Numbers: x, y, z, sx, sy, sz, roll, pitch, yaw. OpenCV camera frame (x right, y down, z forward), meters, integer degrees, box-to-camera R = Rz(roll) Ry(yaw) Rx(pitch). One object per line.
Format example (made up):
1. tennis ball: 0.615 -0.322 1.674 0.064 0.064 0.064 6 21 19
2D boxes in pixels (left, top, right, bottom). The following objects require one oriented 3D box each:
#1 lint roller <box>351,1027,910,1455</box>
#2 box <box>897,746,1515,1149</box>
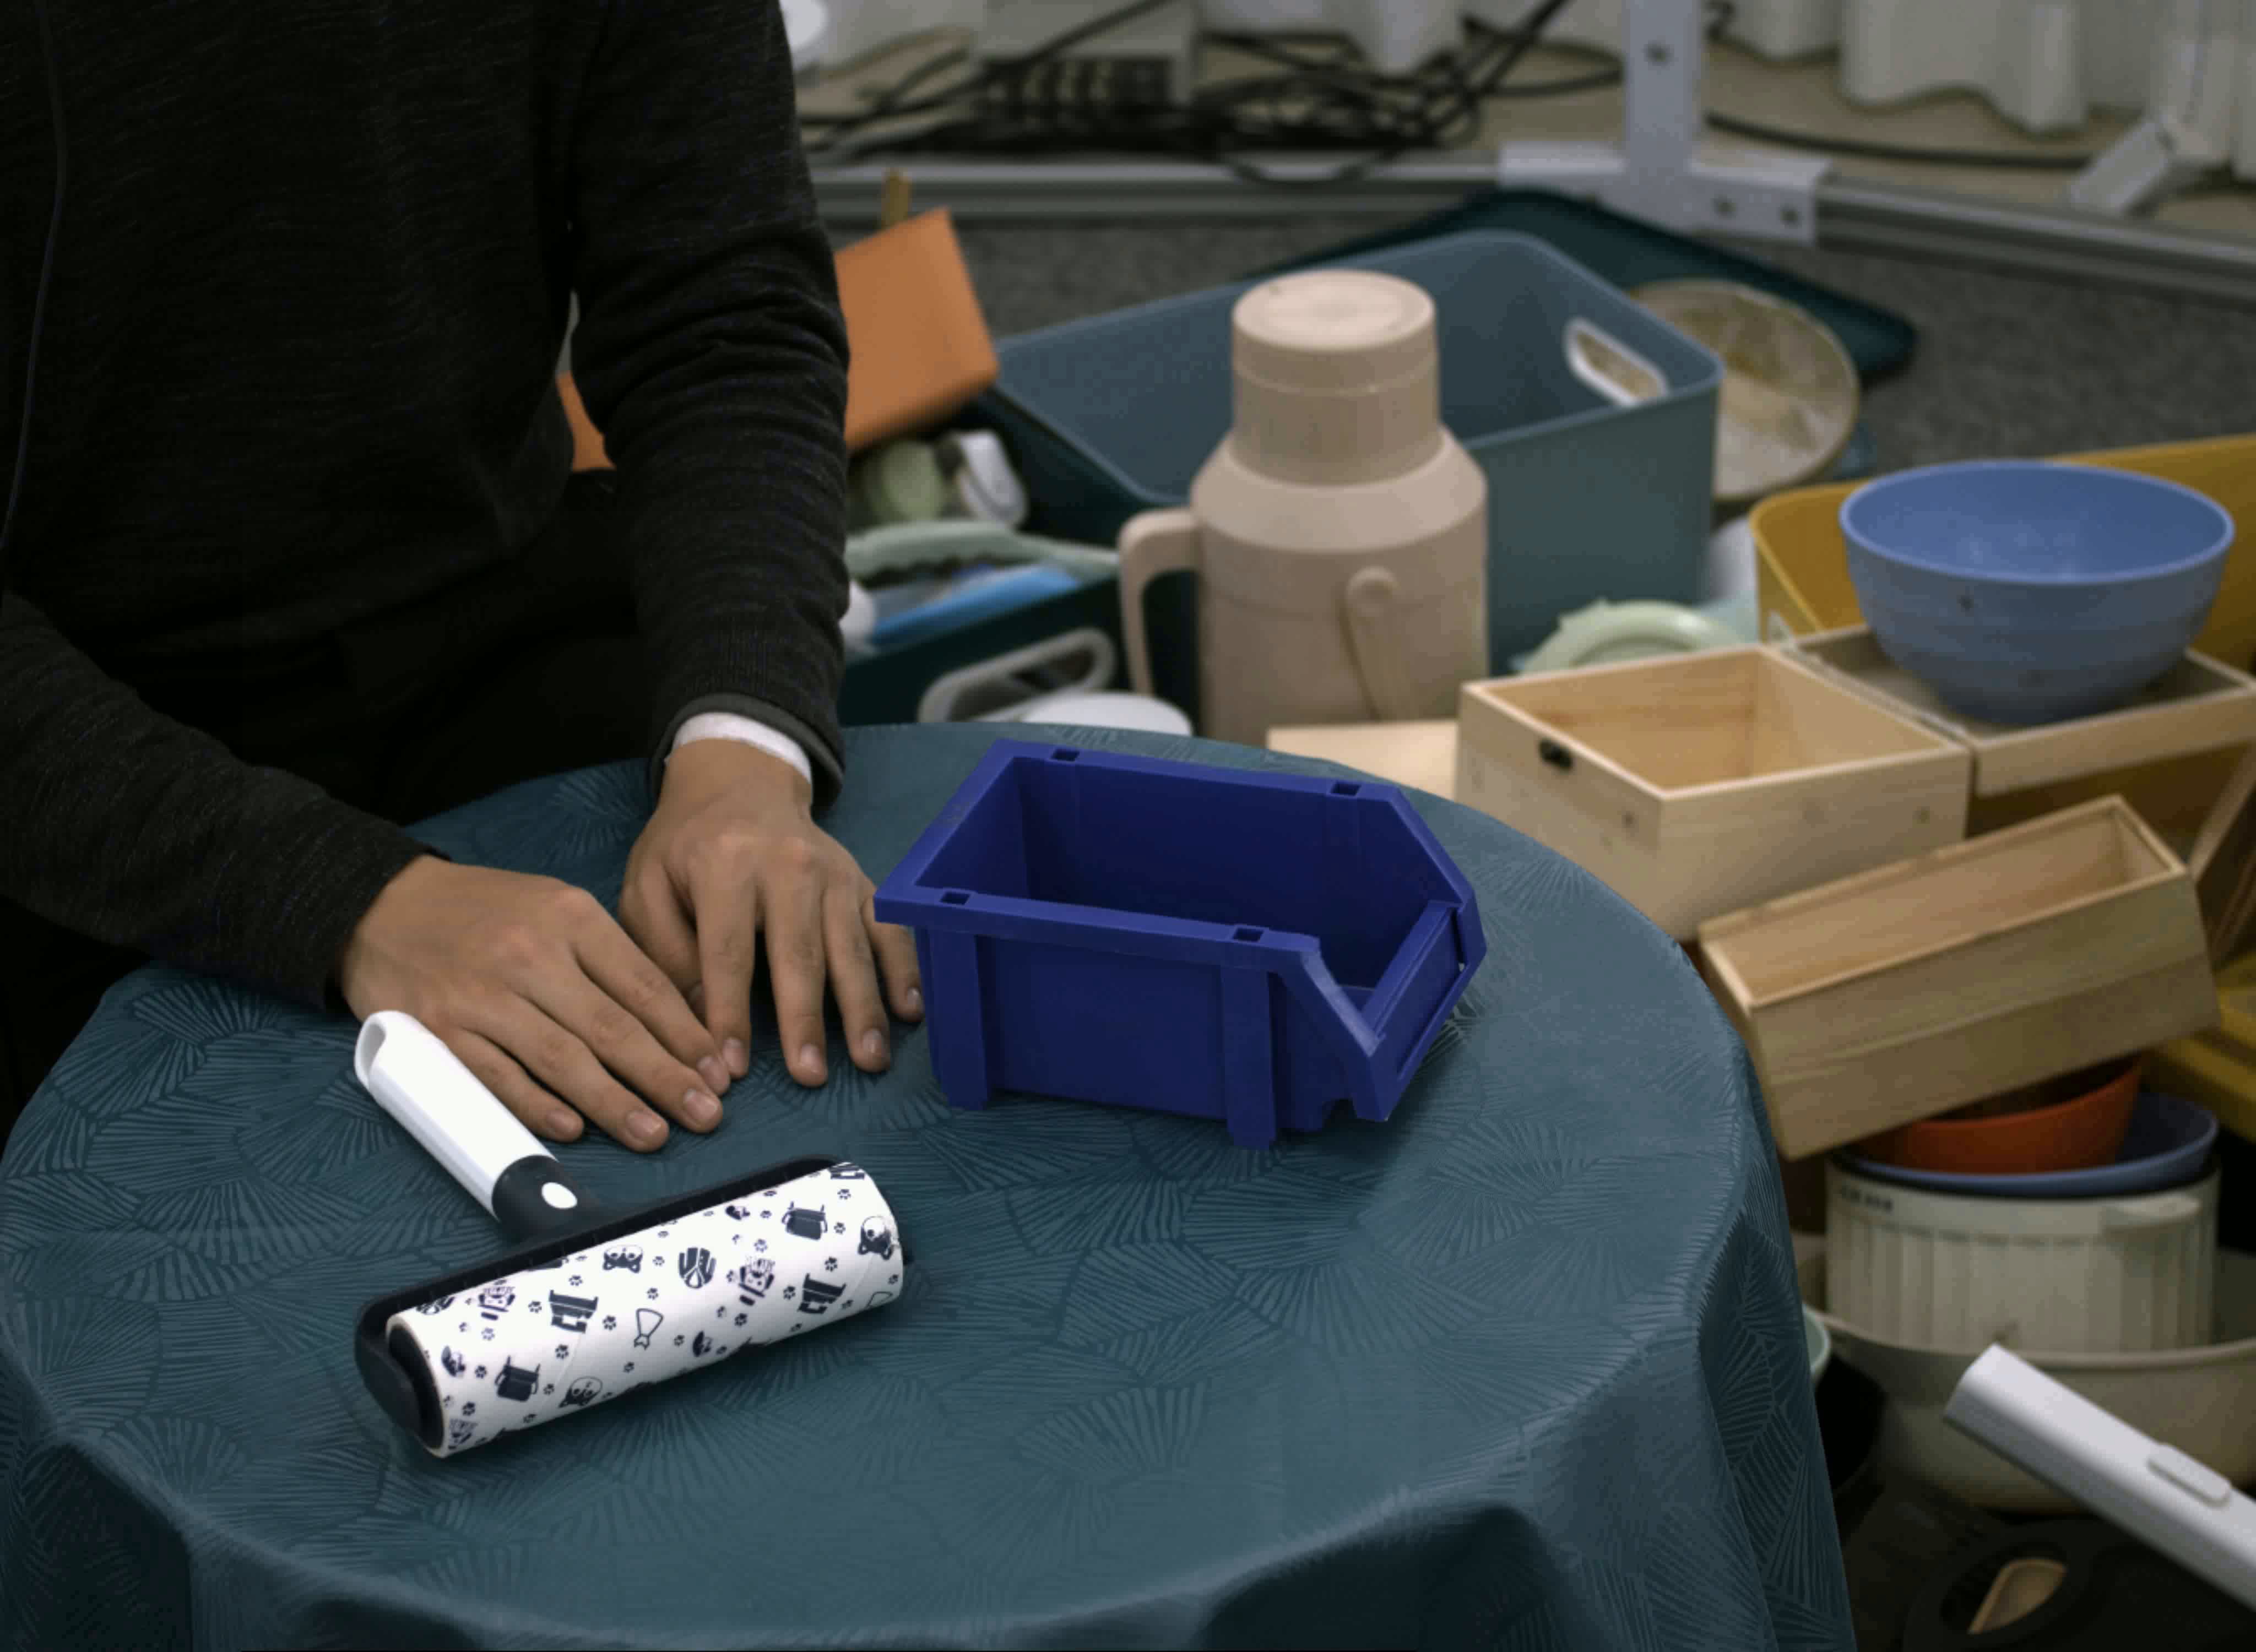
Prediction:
1. lint roller: -0.203 0.116 1.847 0.177 0.050 0.248 -18 30 -25
2. box: 0.030 0.041 1.926 0.178 0.081 0.126 5 28 21
